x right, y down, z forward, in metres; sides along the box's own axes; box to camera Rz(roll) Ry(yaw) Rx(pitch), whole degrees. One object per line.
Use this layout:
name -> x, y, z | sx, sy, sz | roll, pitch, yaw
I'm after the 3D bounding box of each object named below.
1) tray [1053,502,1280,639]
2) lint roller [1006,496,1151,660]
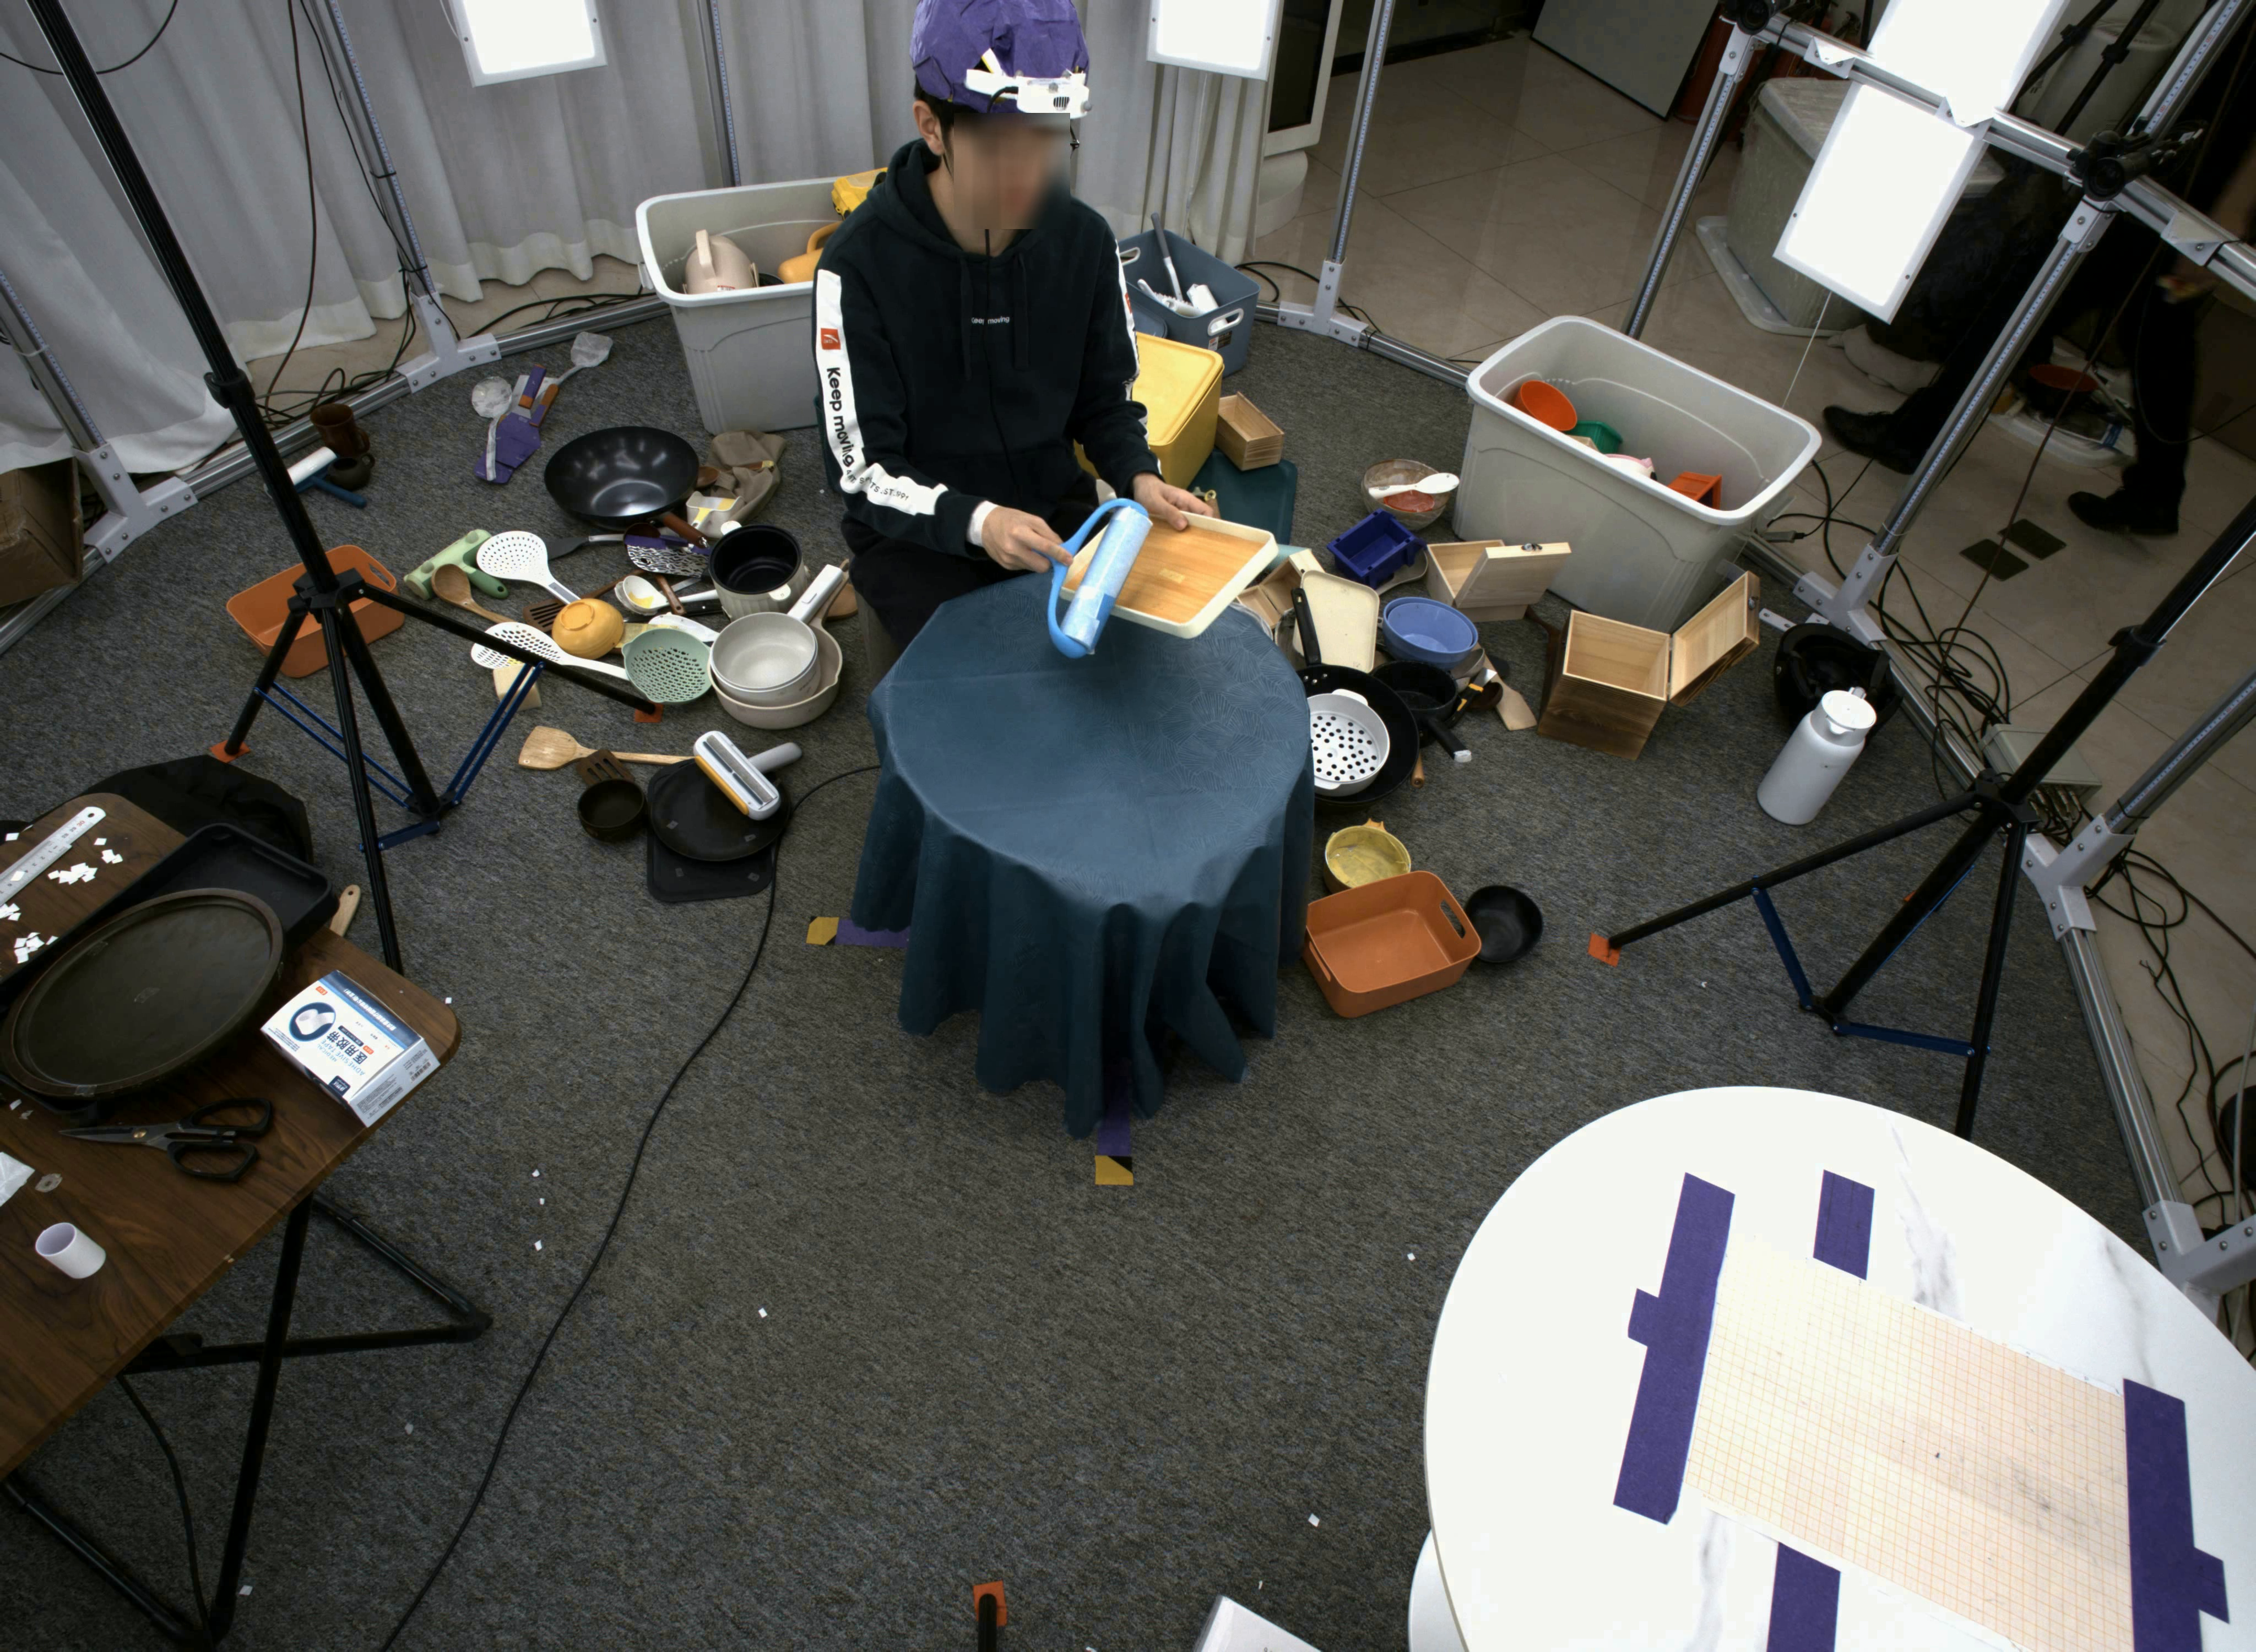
tray -> 0.048, -0.358, 1.772 | 0.193, 0.027, 0.305 | -46, 42, -16
lint roller -> -0.084, -0.348, 1.720 | 0.181, 0.067, 0.230 | 19, 83, 7
